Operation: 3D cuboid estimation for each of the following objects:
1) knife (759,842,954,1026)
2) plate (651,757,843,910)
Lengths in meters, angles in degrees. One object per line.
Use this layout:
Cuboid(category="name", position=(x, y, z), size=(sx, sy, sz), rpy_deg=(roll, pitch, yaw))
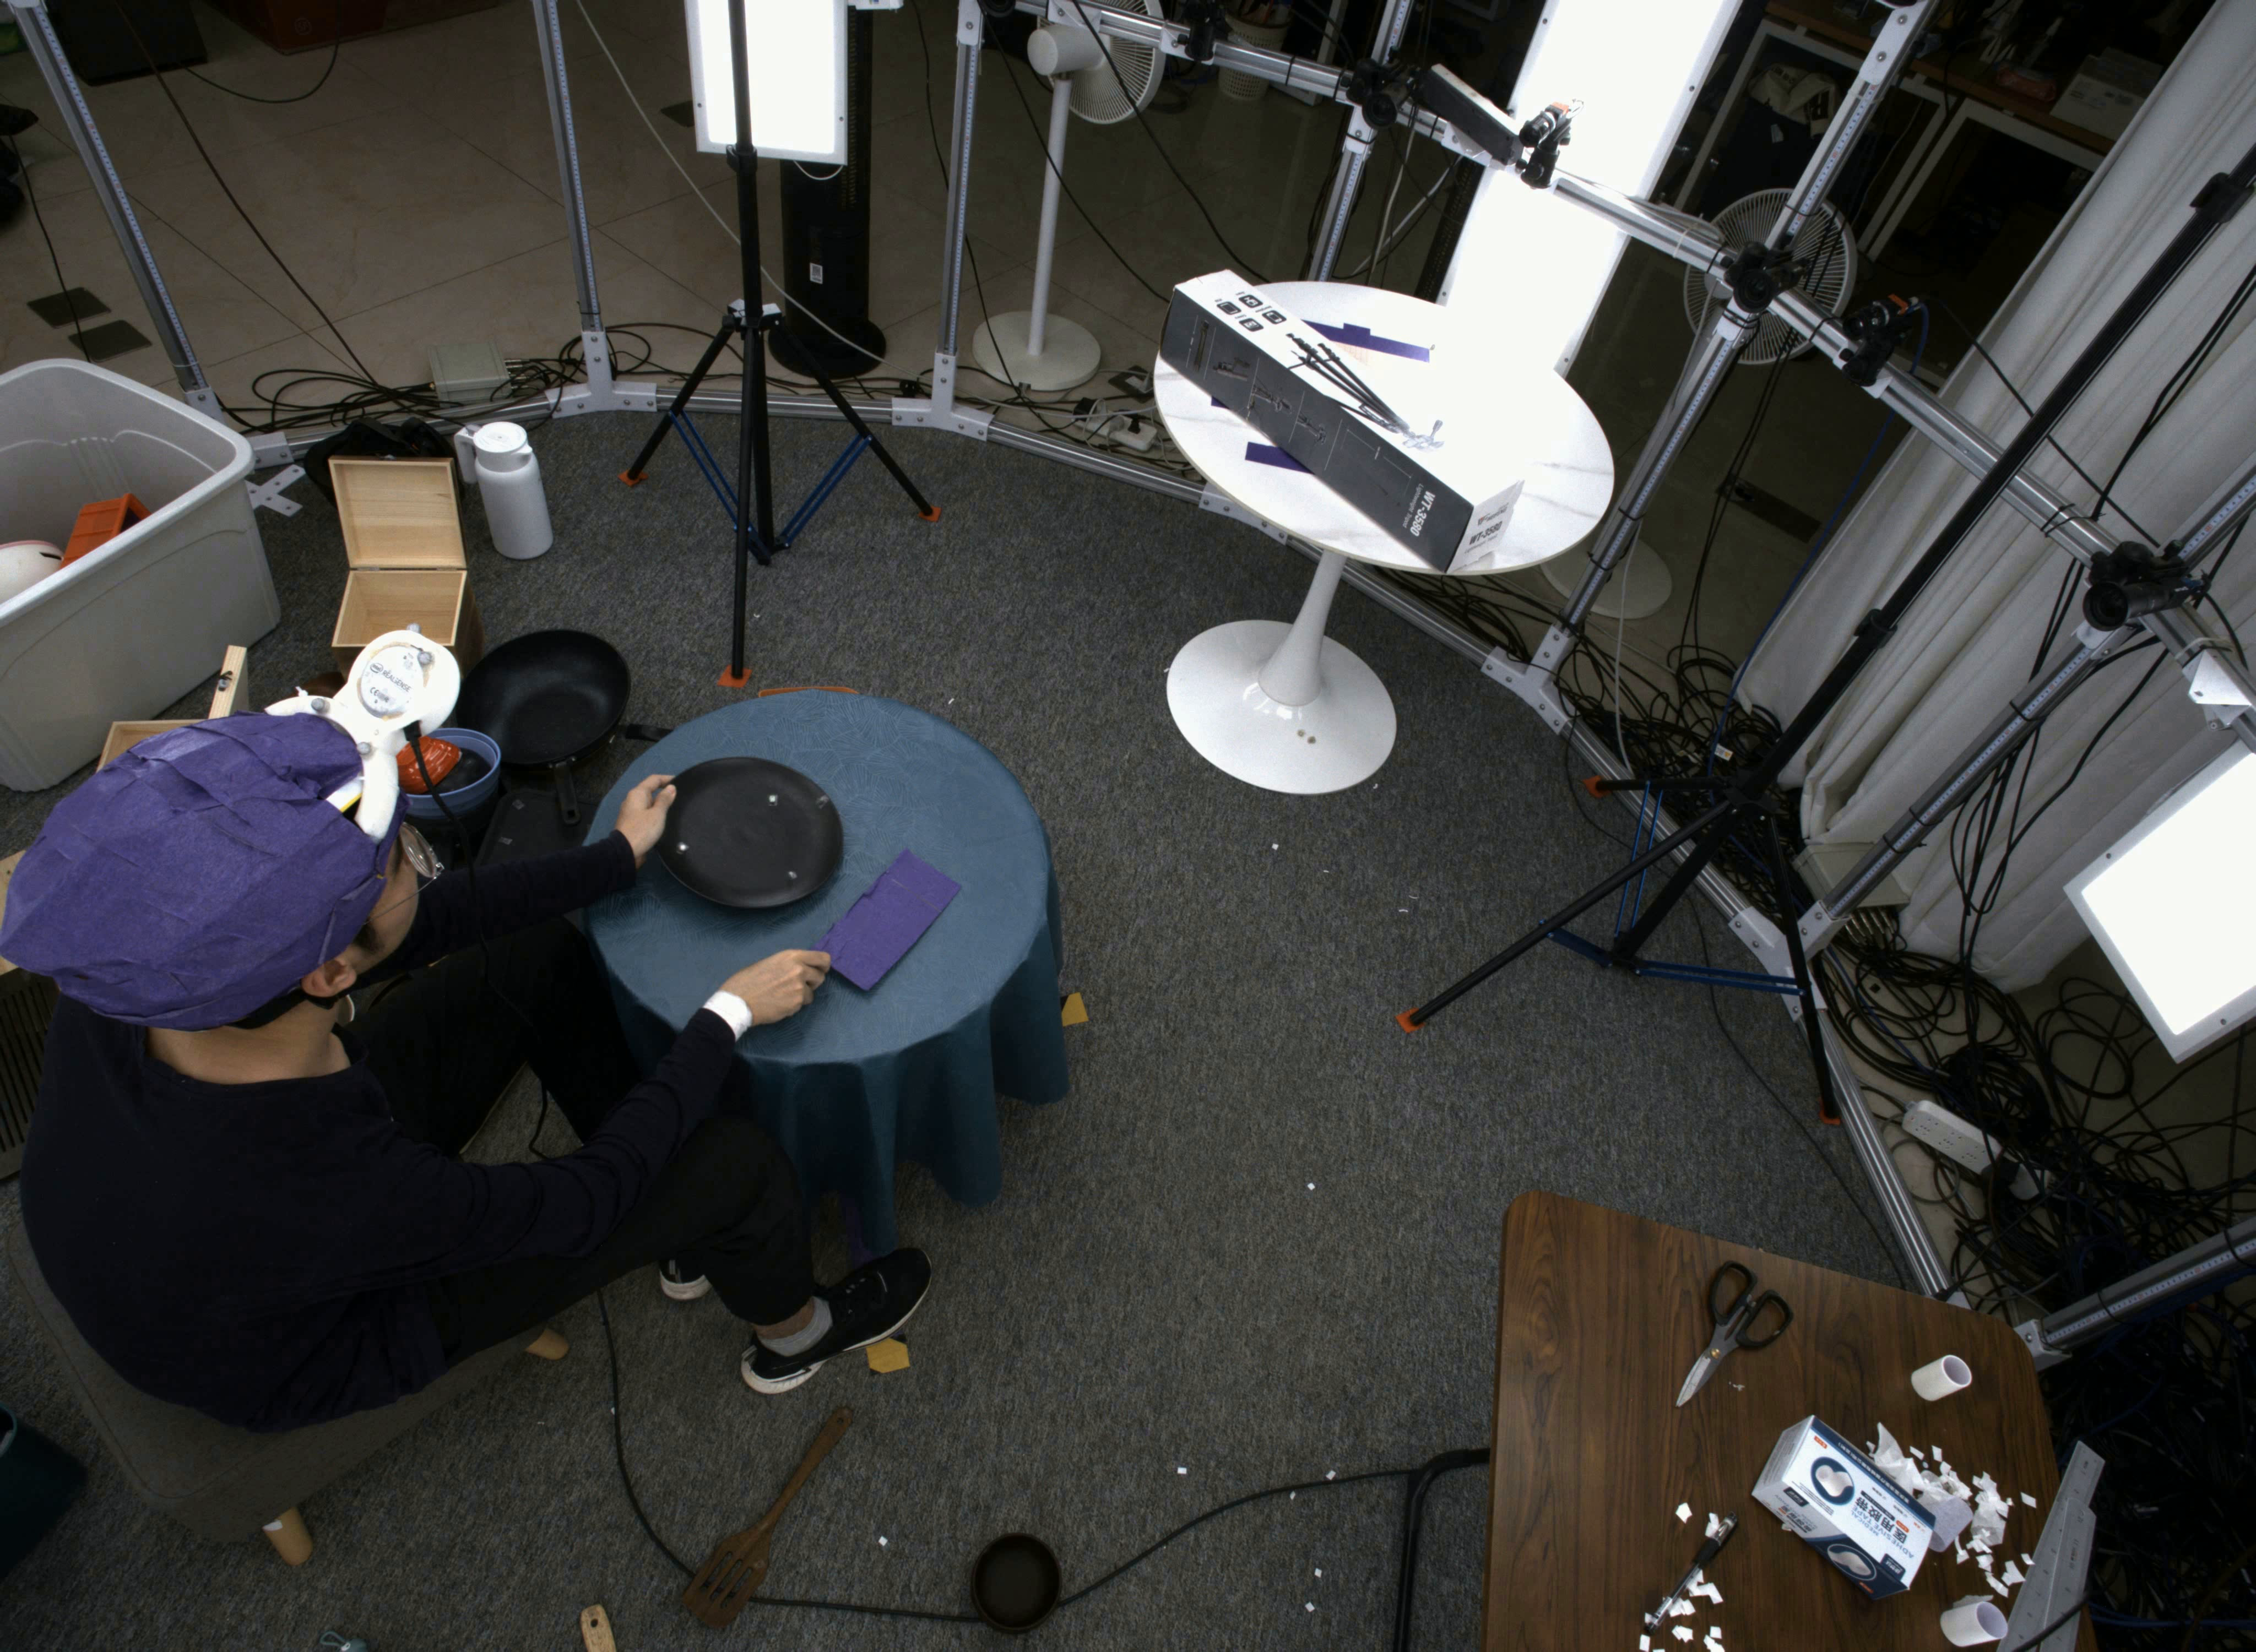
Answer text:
Cuboid(category="knife", position=(-0.329, 0.143, 1.627), size=(0.103, 0.032, 0.314), rpy_deg=(35, 52, 2))
Cuboid(category="plate", position=(-0.492, 0.010, 1.673), size=(0.246, 0.023, 0.240), rpy_deg=(15, 50, -16))
